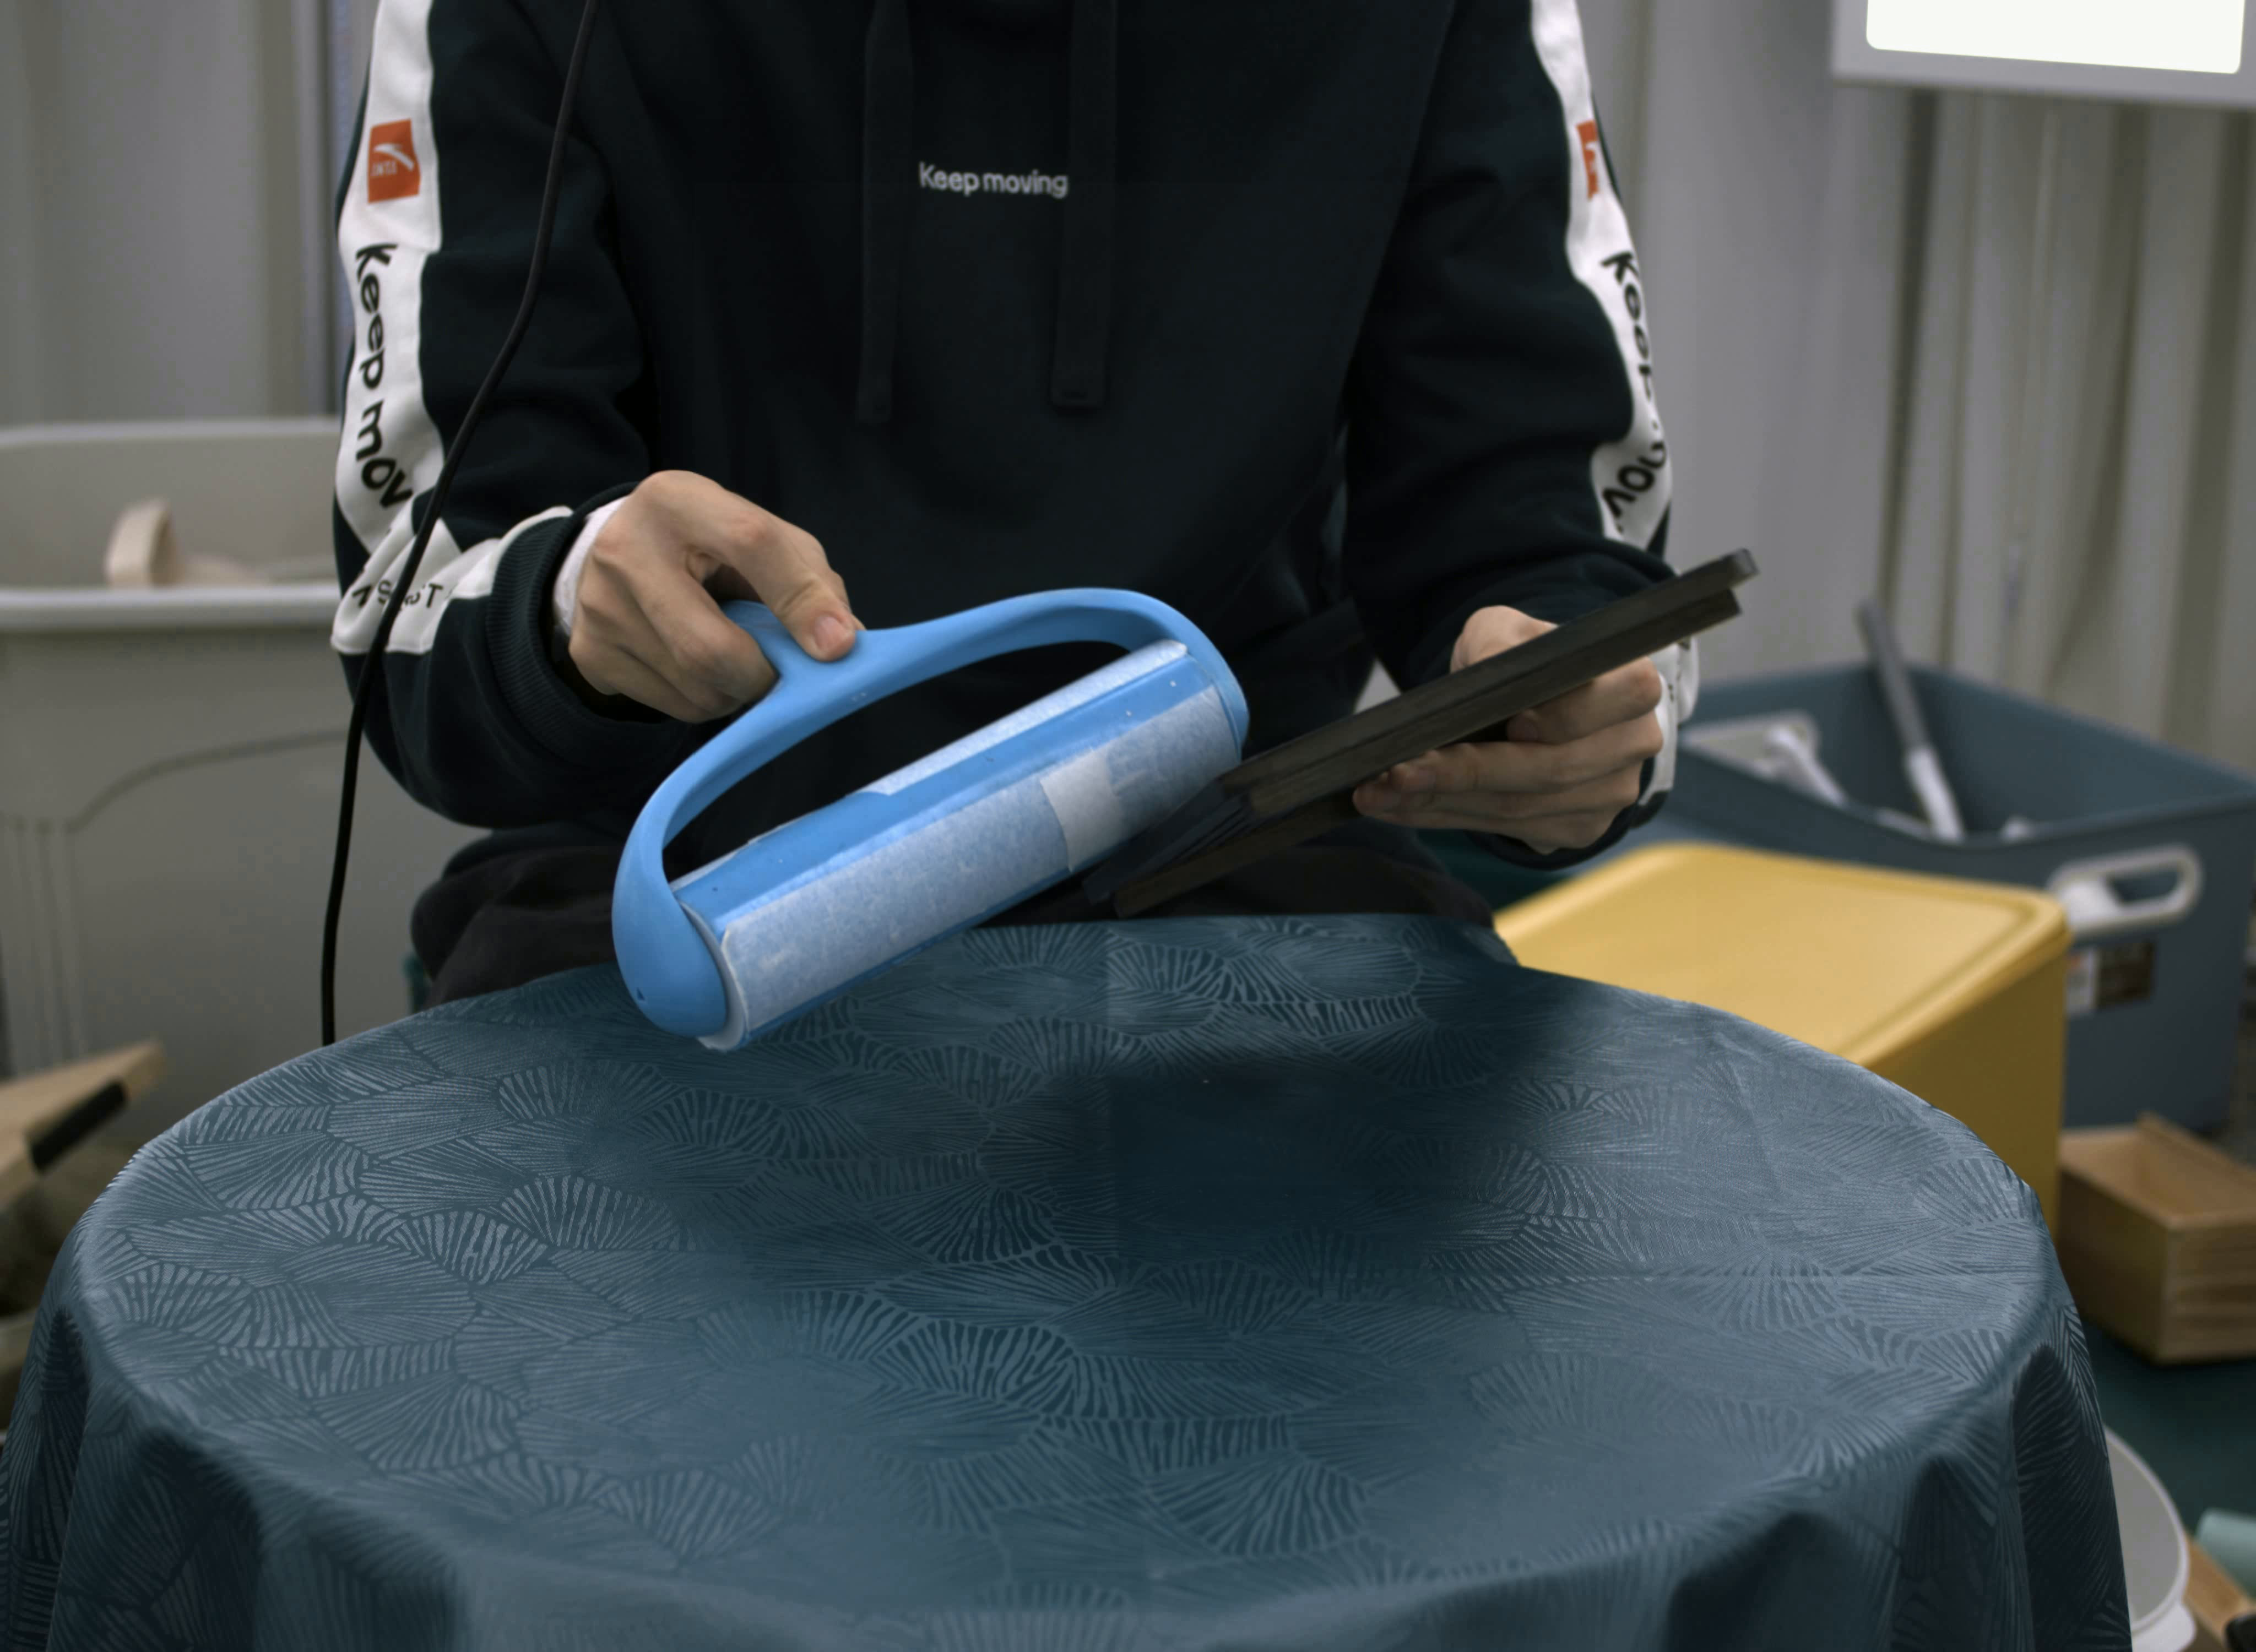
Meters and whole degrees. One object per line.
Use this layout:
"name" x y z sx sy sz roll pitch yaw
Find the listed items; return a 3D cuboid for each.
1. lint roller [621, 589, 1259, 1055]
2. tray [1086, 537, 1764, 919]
"lint roller" -0.092 -0.027 1.626 0.229 0.069 0.178 -31 53 -30
"tray" 0.084 -0.024 1.612 0.170 0.018 0.306 -24 -4 -10
